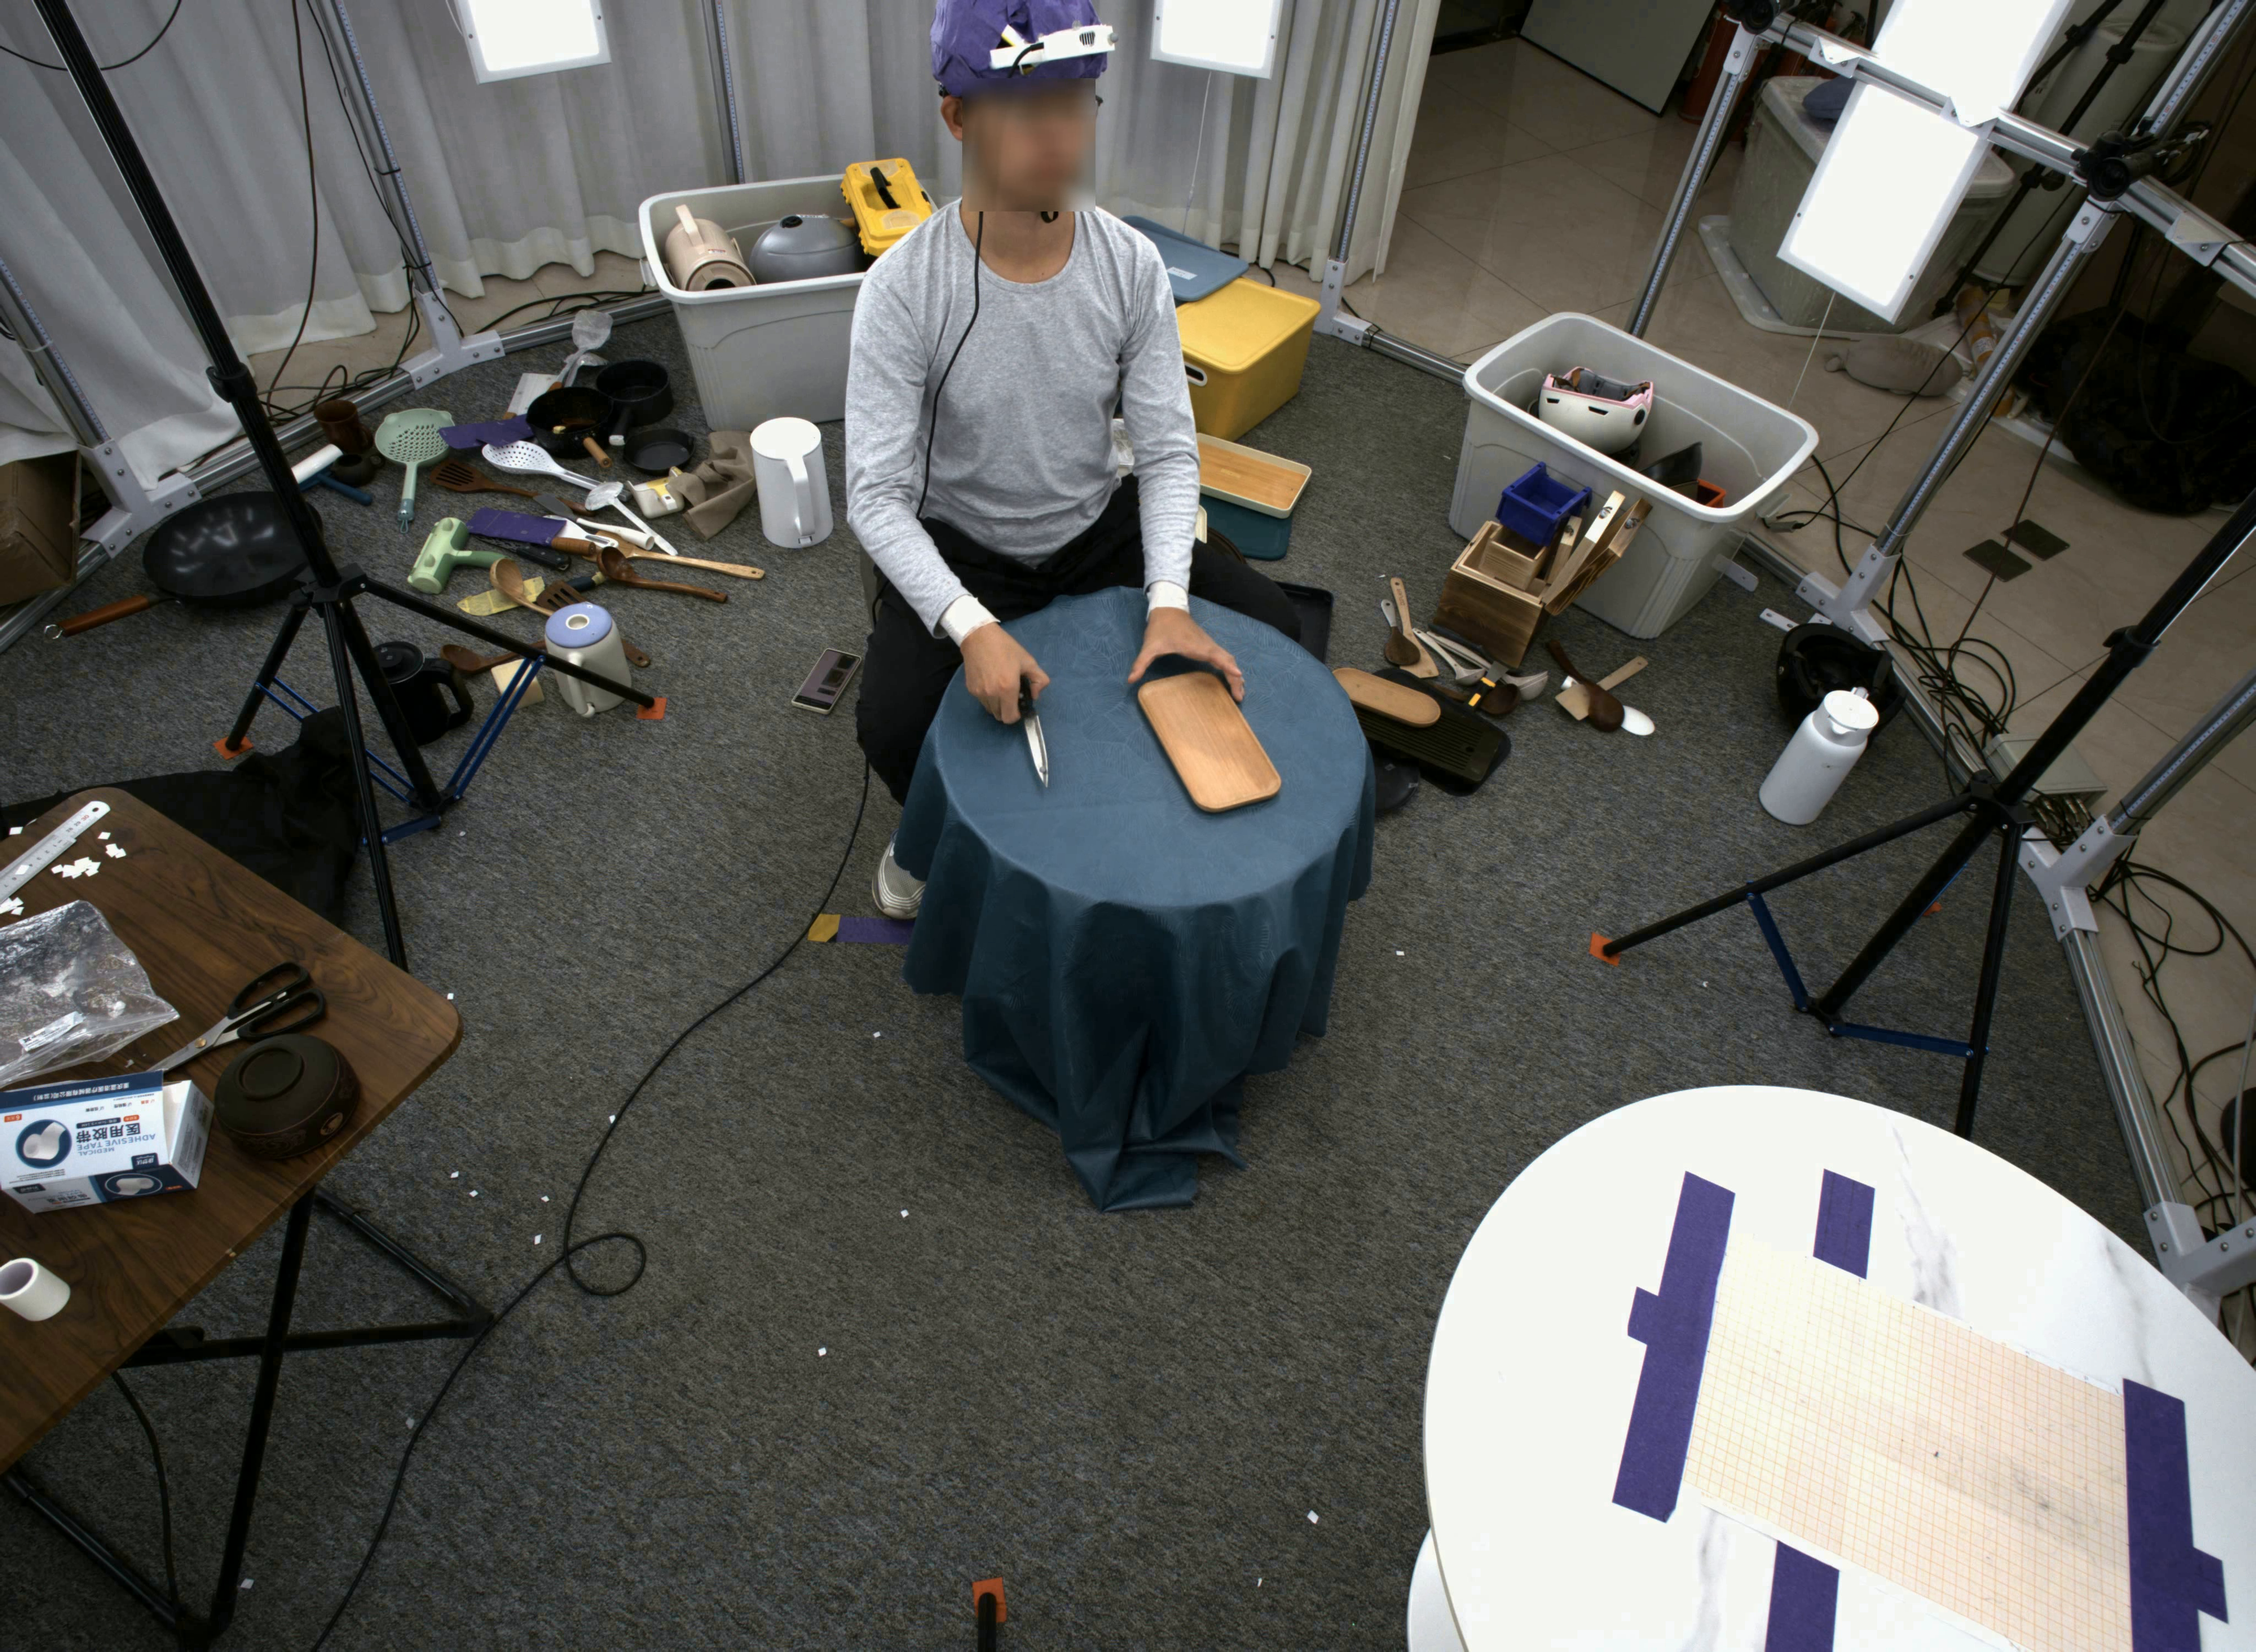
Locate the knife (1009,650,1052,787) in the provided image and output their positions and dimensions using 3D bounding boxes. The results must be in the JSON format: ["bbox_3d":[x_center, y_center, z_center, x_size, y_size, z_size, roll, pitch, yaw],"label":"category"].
[{"bbox_3d":[-0.133,-0.147,1.752,0.024,0.016,0.244,-30,54,20],"label":"knife"}]

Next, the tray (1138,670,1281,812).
[{"bbox_3d":[0.109,-0.120,1.769,0.130,0.022,0.257,-12,50,-17],"label":"tray"}]
